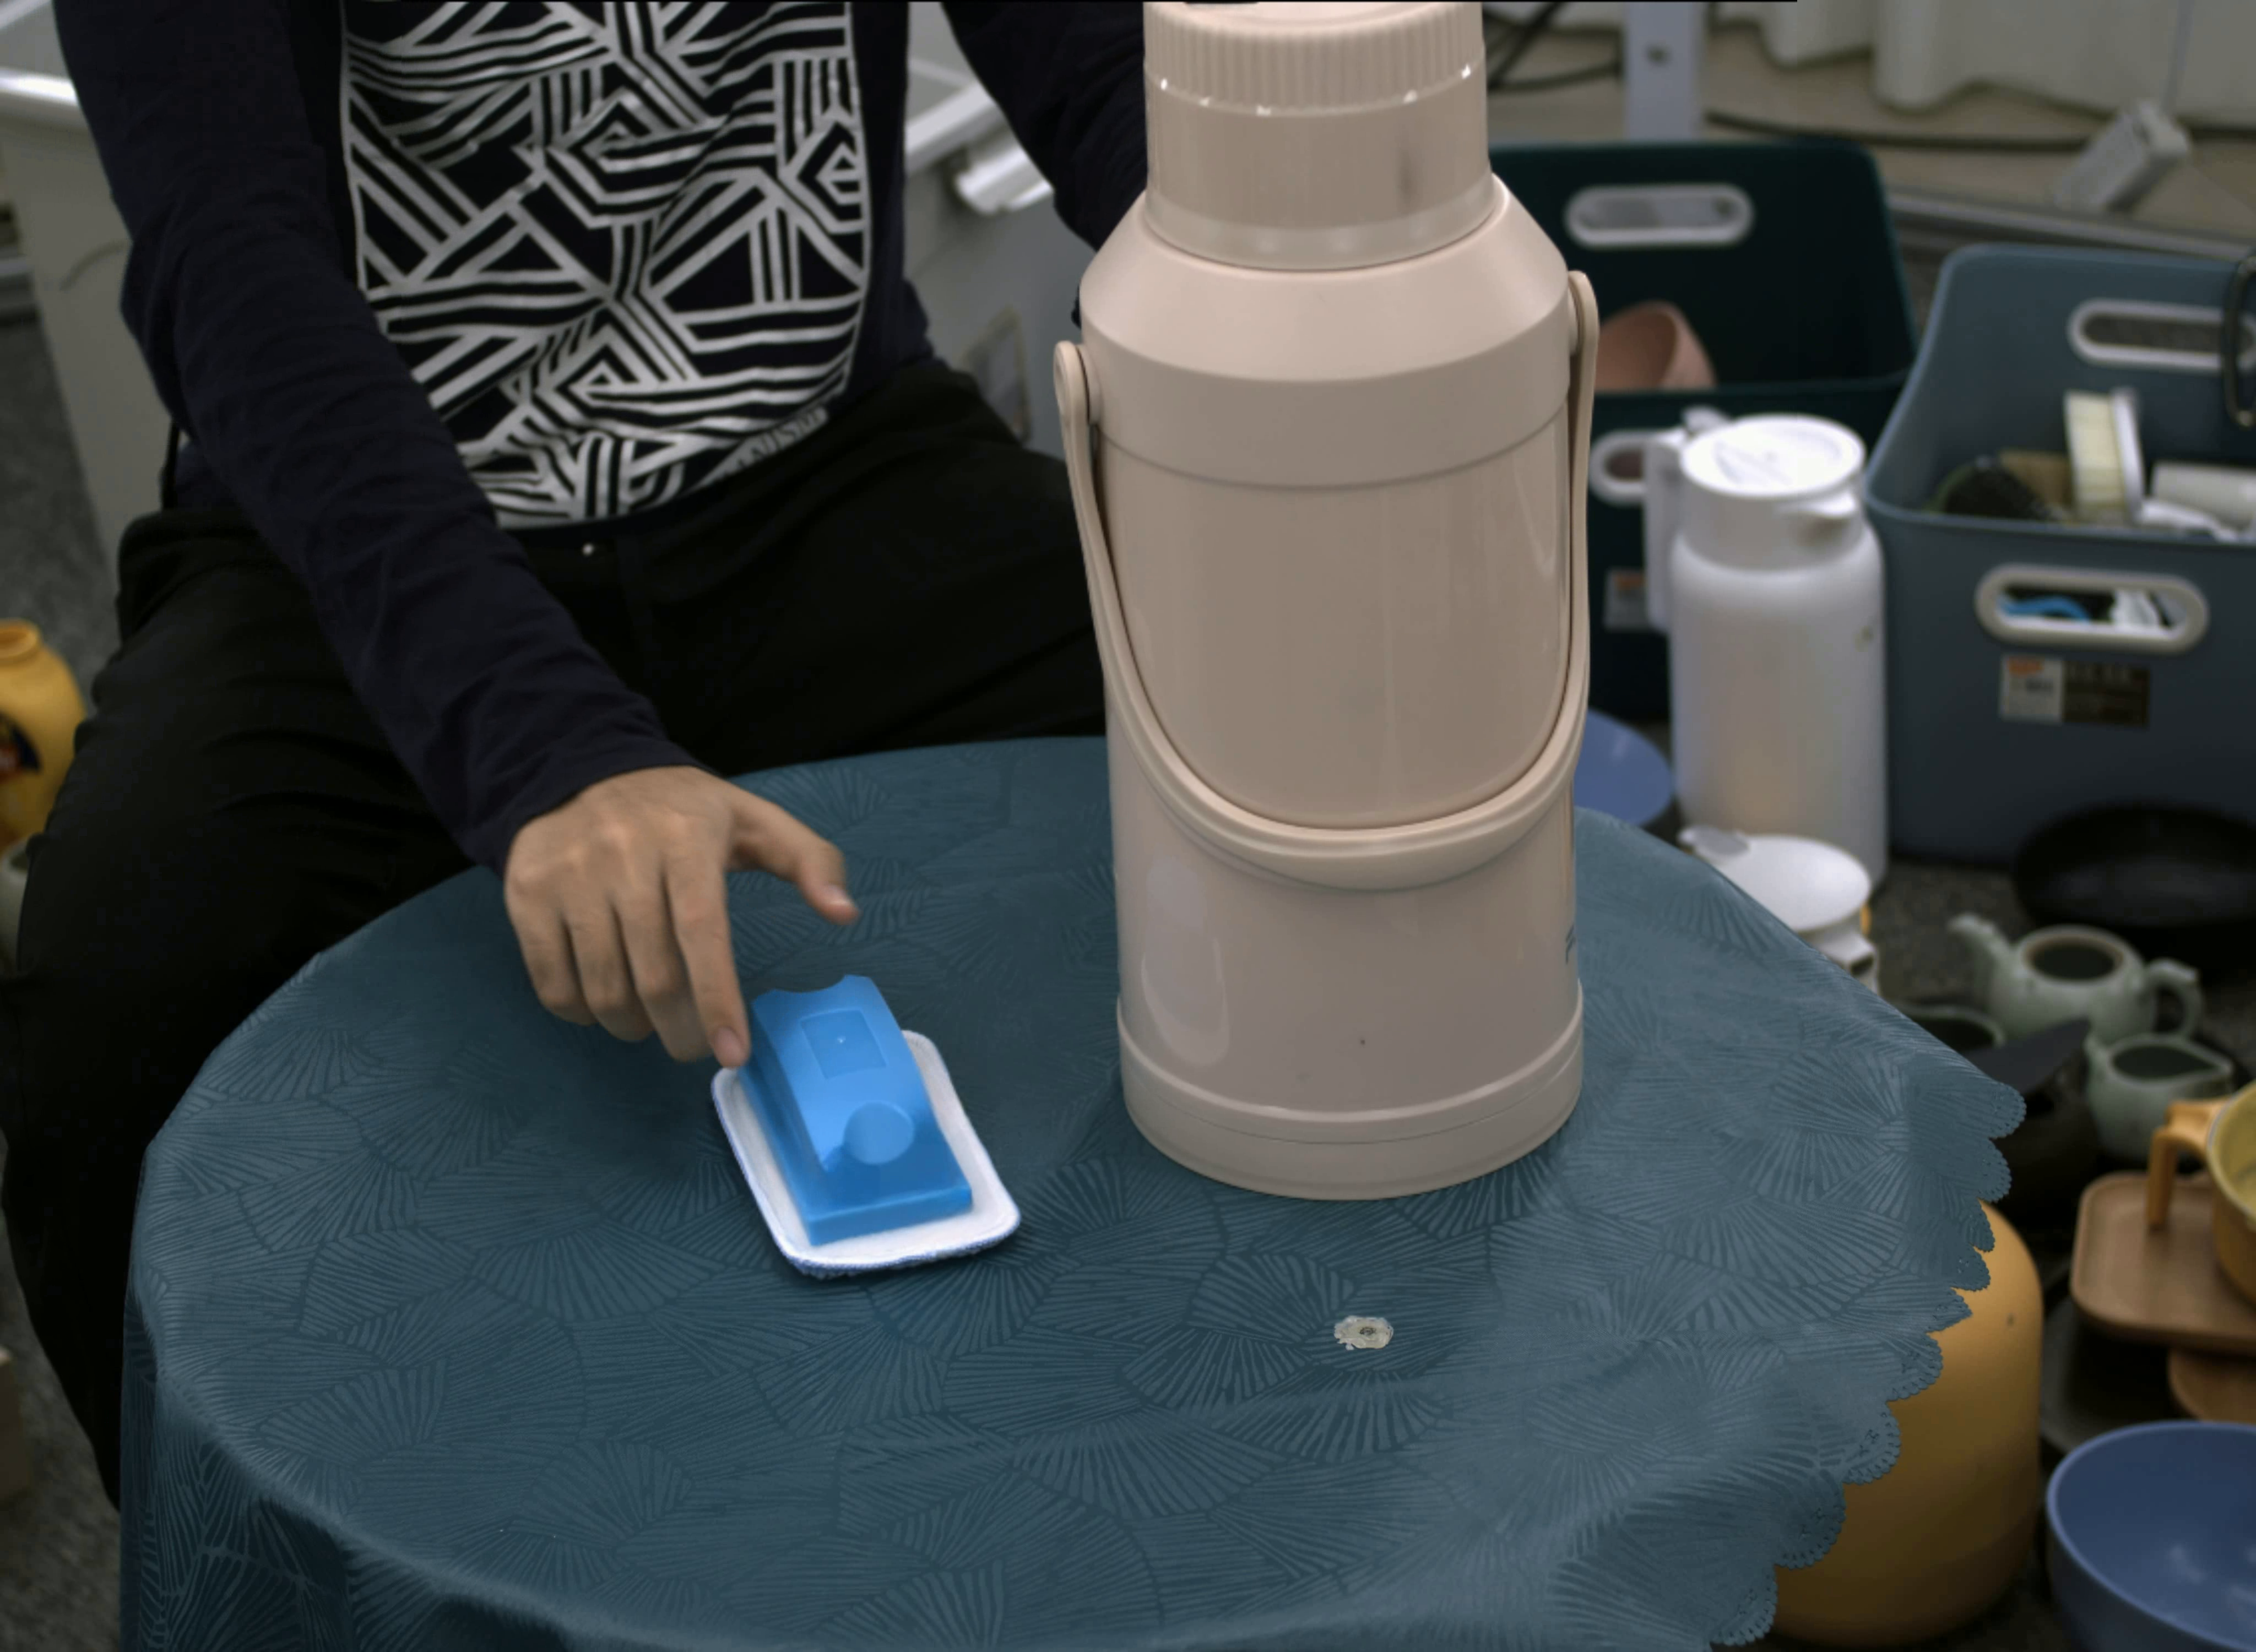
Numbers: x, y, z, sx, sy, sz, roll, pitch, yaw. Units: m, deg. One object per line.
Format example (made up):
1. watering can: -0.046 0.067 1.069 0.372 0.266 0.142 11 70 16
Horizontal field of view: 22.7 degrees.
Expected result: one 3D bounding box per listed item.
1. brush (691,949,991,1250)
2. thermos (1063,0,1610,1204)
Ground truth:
1. brush: -0.095 0.086 1.869 0.084 0.055 0.146 -5 31 -13
2. thermos: 0.069 -0.094 1.844 0.175 0.402 0.209 -11 26 -11
